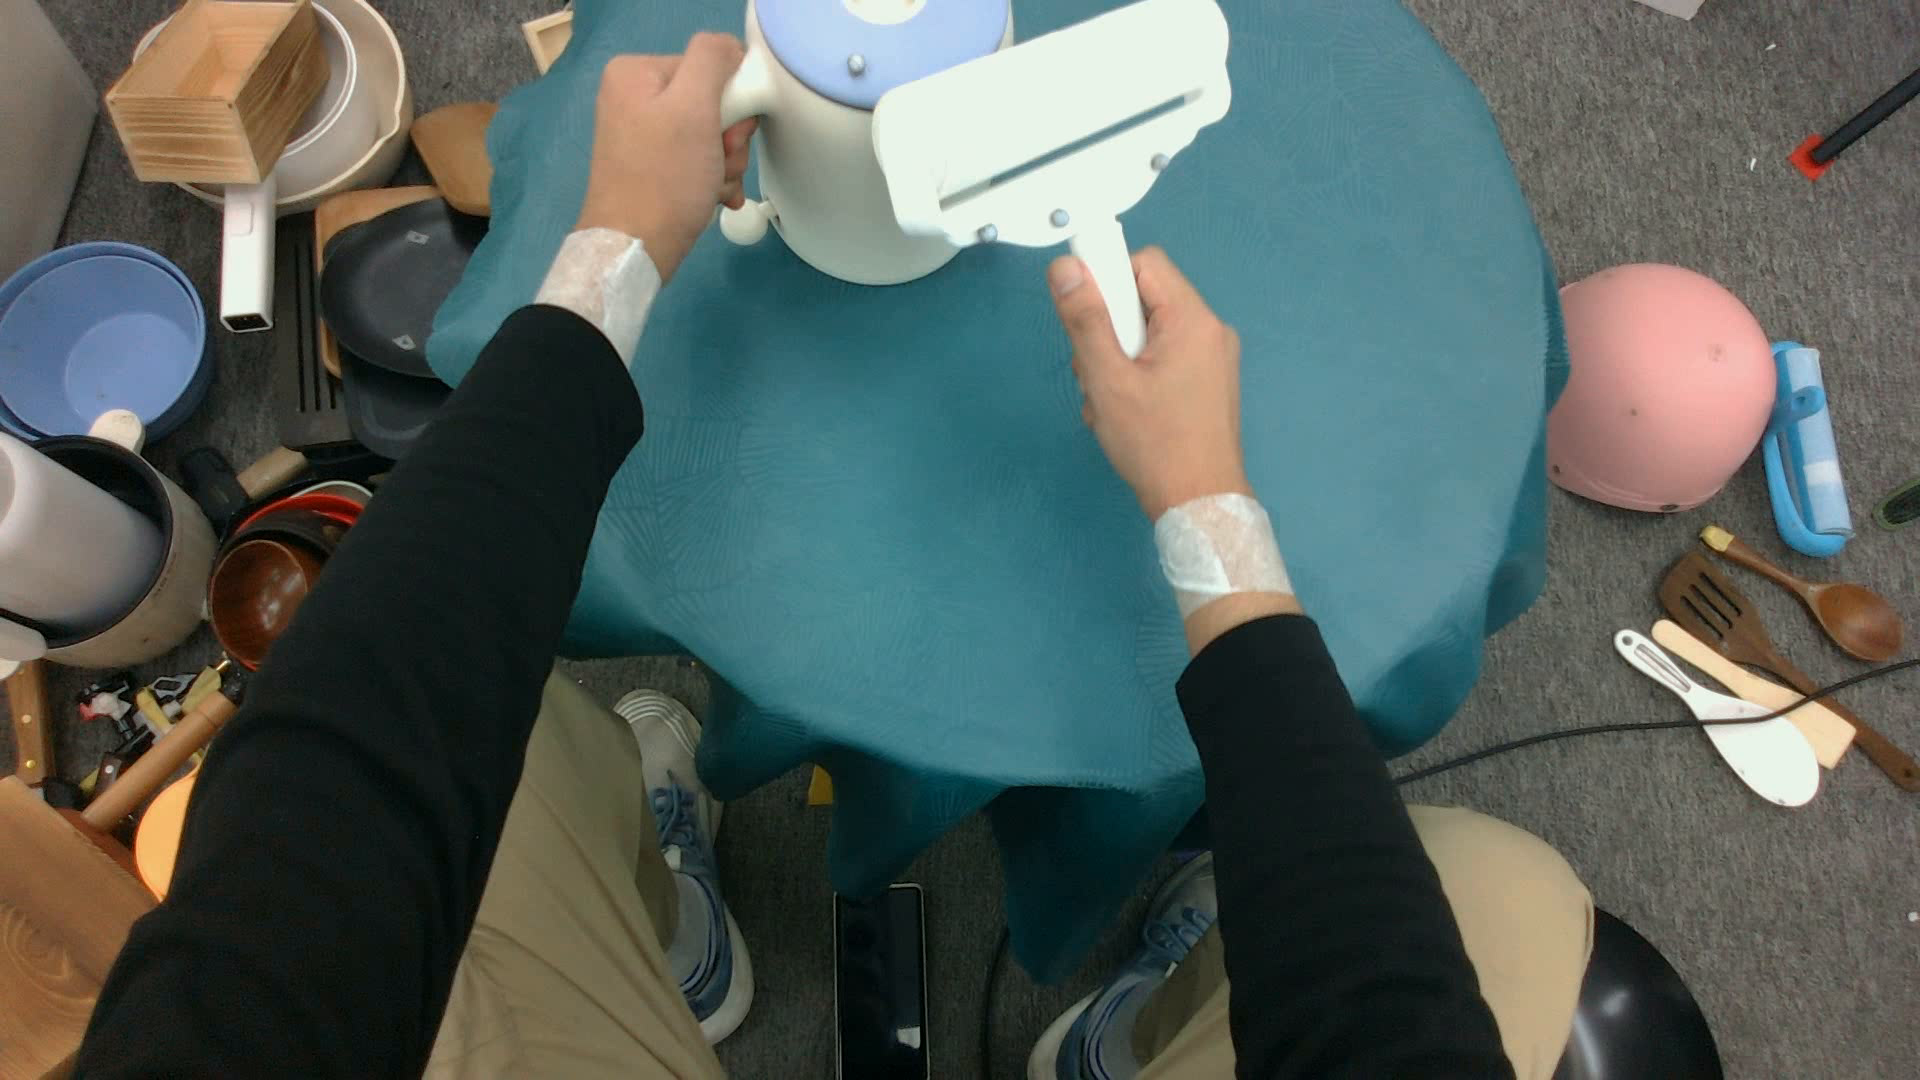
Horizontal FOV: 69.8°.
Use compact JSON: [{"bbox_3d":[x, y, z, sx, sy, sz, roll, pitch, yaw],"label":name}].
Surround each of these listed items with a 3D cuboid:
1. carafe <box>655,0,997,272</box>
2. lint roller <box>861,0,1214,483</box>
[{"bbox_3d":[-0.072,-0.223,0.715,0.191,0.182,0.132,-30,78,-11],"label":"carafe"},{"bbox_3d":[0.067,-0.129,0.647,0.204,0.048,0.225,-34,113,-35],"label":"lint roller"}]
